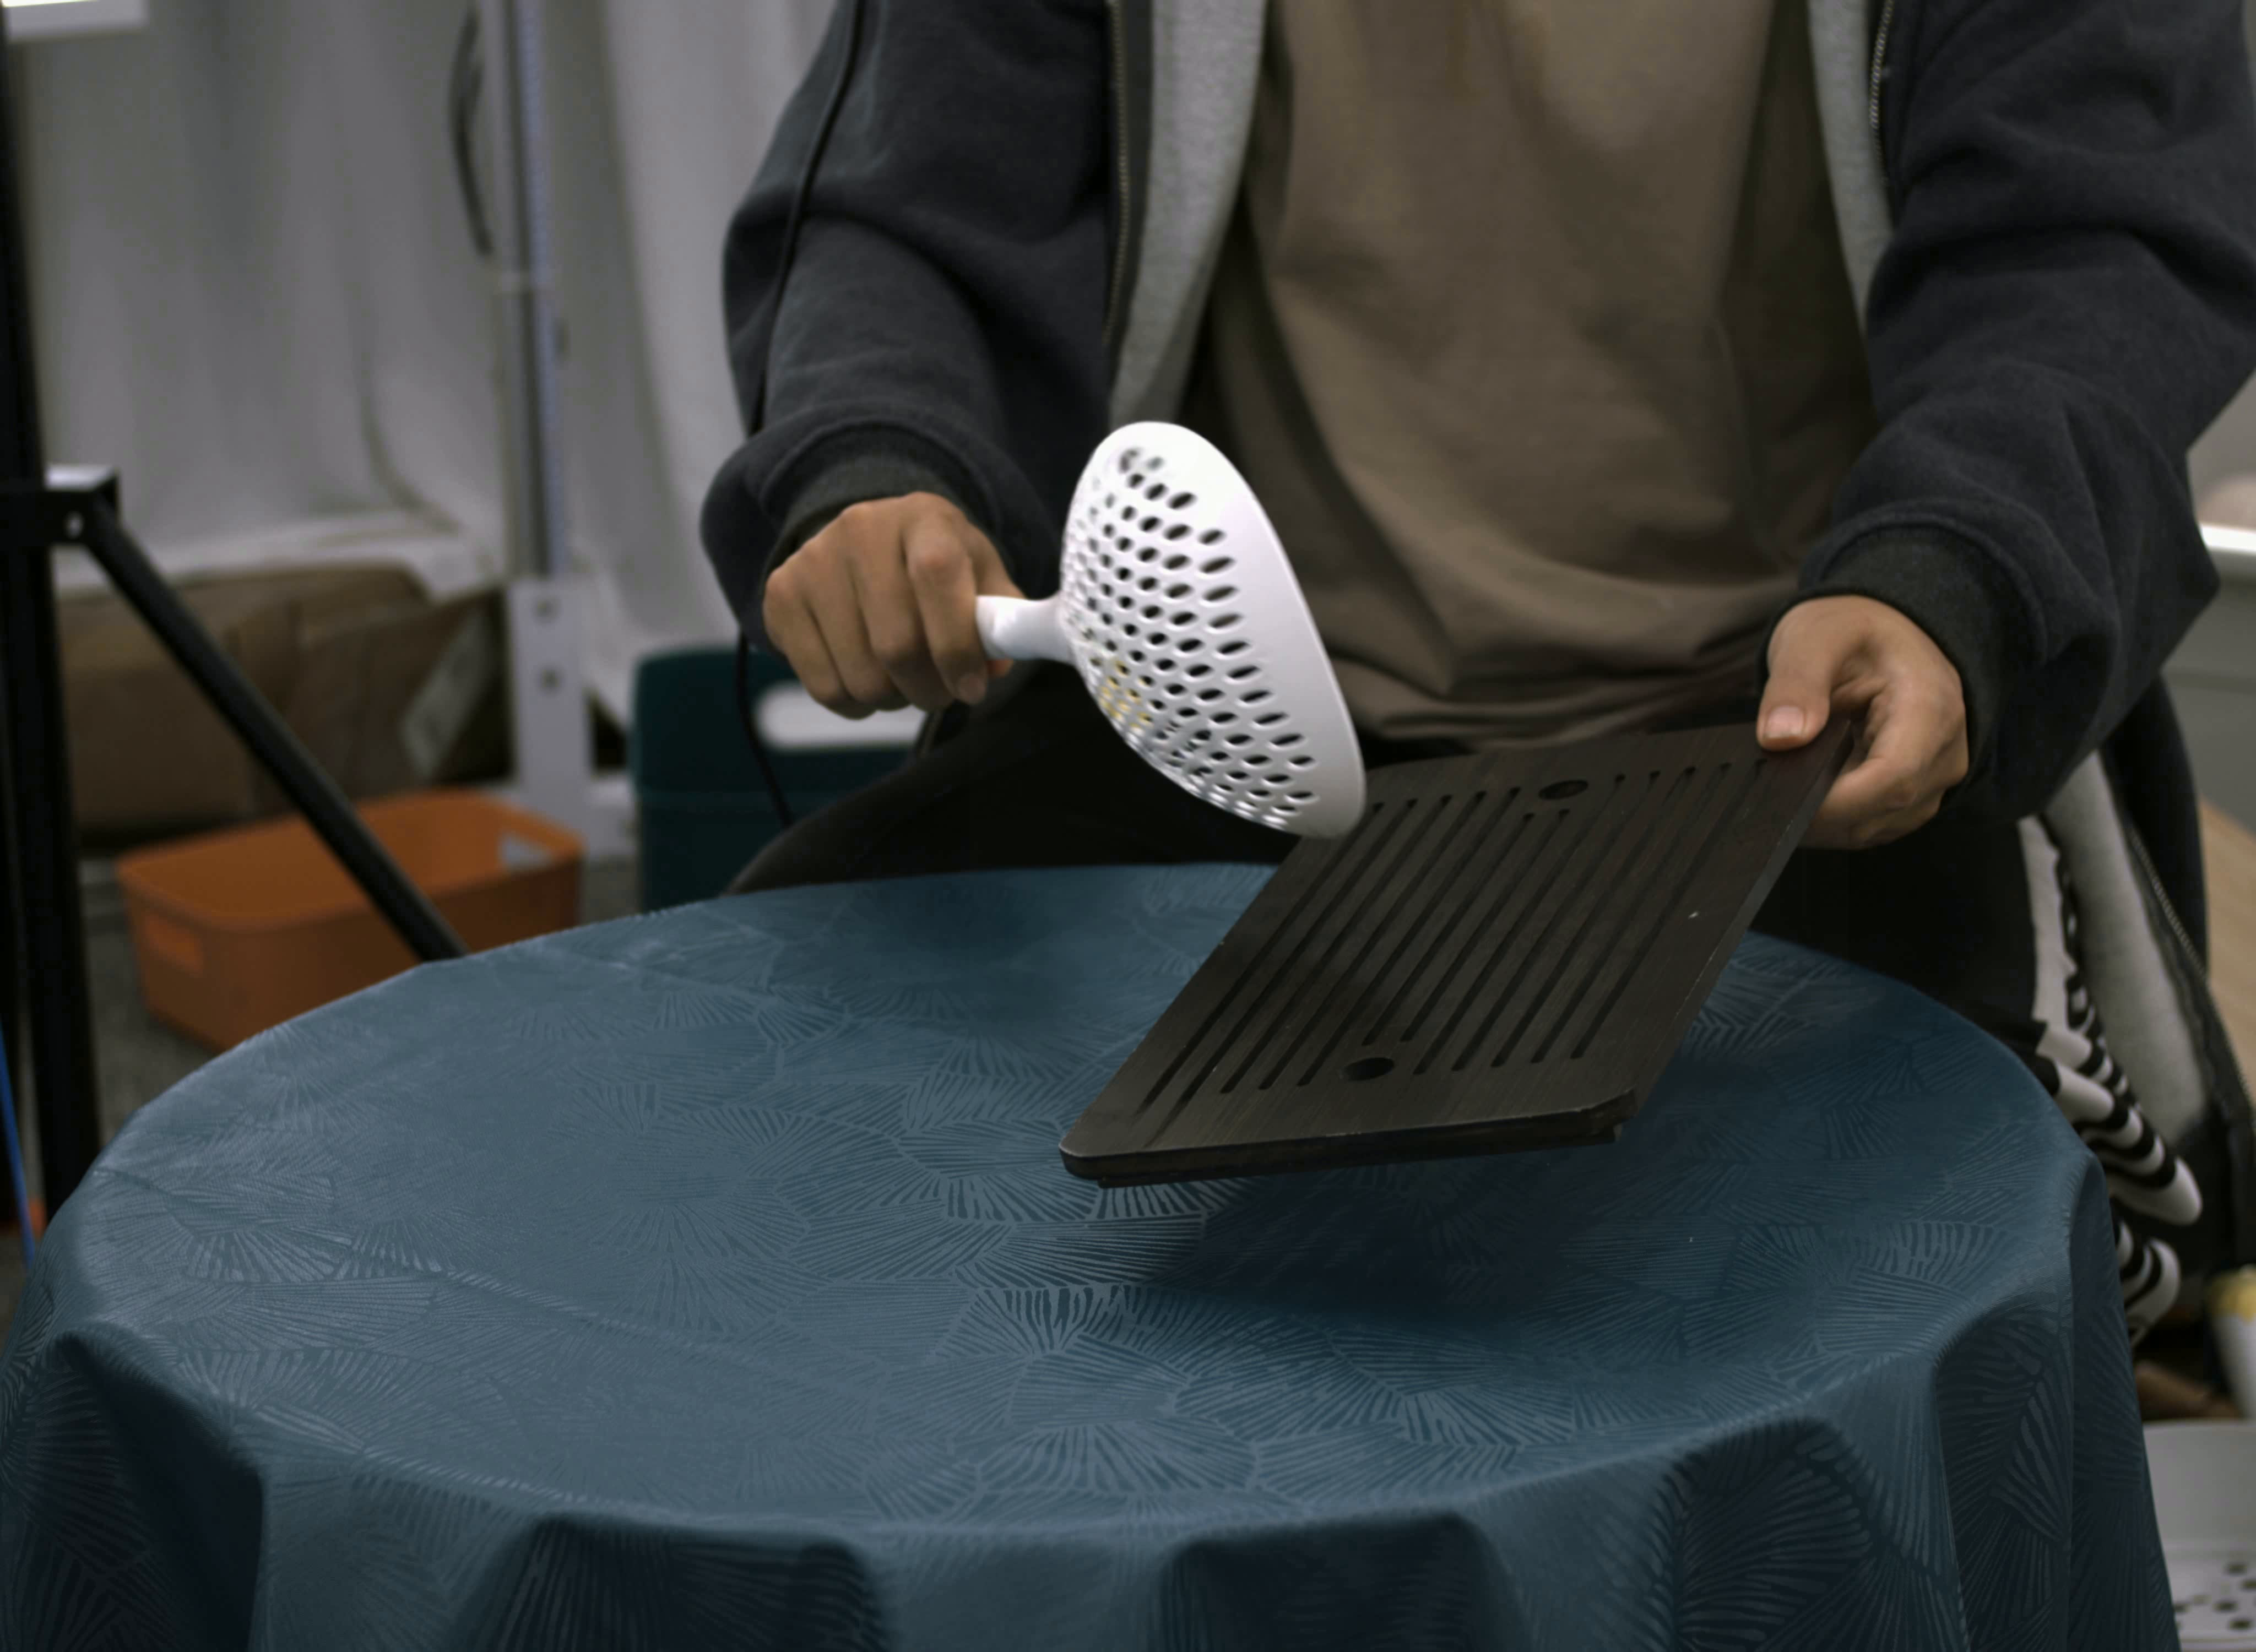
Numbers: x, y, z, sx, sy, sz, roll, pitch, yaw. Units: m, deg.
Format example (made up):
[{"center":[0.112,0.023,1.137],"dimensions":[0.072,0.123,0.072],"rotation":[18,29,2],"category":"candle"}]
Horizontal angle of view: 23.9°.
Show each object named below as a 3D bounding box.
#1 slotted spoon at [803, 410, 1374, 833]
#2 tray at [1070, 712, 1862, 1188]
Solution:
[{"center":[-0.025,-0.059,1.663],"dimensions":[0.050,0.136,0.353],"rotation":[-28,13,-16],"category":"slotted spoon"},{"center":[0.108,0.035,1.566],"dimensions":[0.172,0.018,0.303],"rotation":[-7,19,23],"category":"tray"}]
